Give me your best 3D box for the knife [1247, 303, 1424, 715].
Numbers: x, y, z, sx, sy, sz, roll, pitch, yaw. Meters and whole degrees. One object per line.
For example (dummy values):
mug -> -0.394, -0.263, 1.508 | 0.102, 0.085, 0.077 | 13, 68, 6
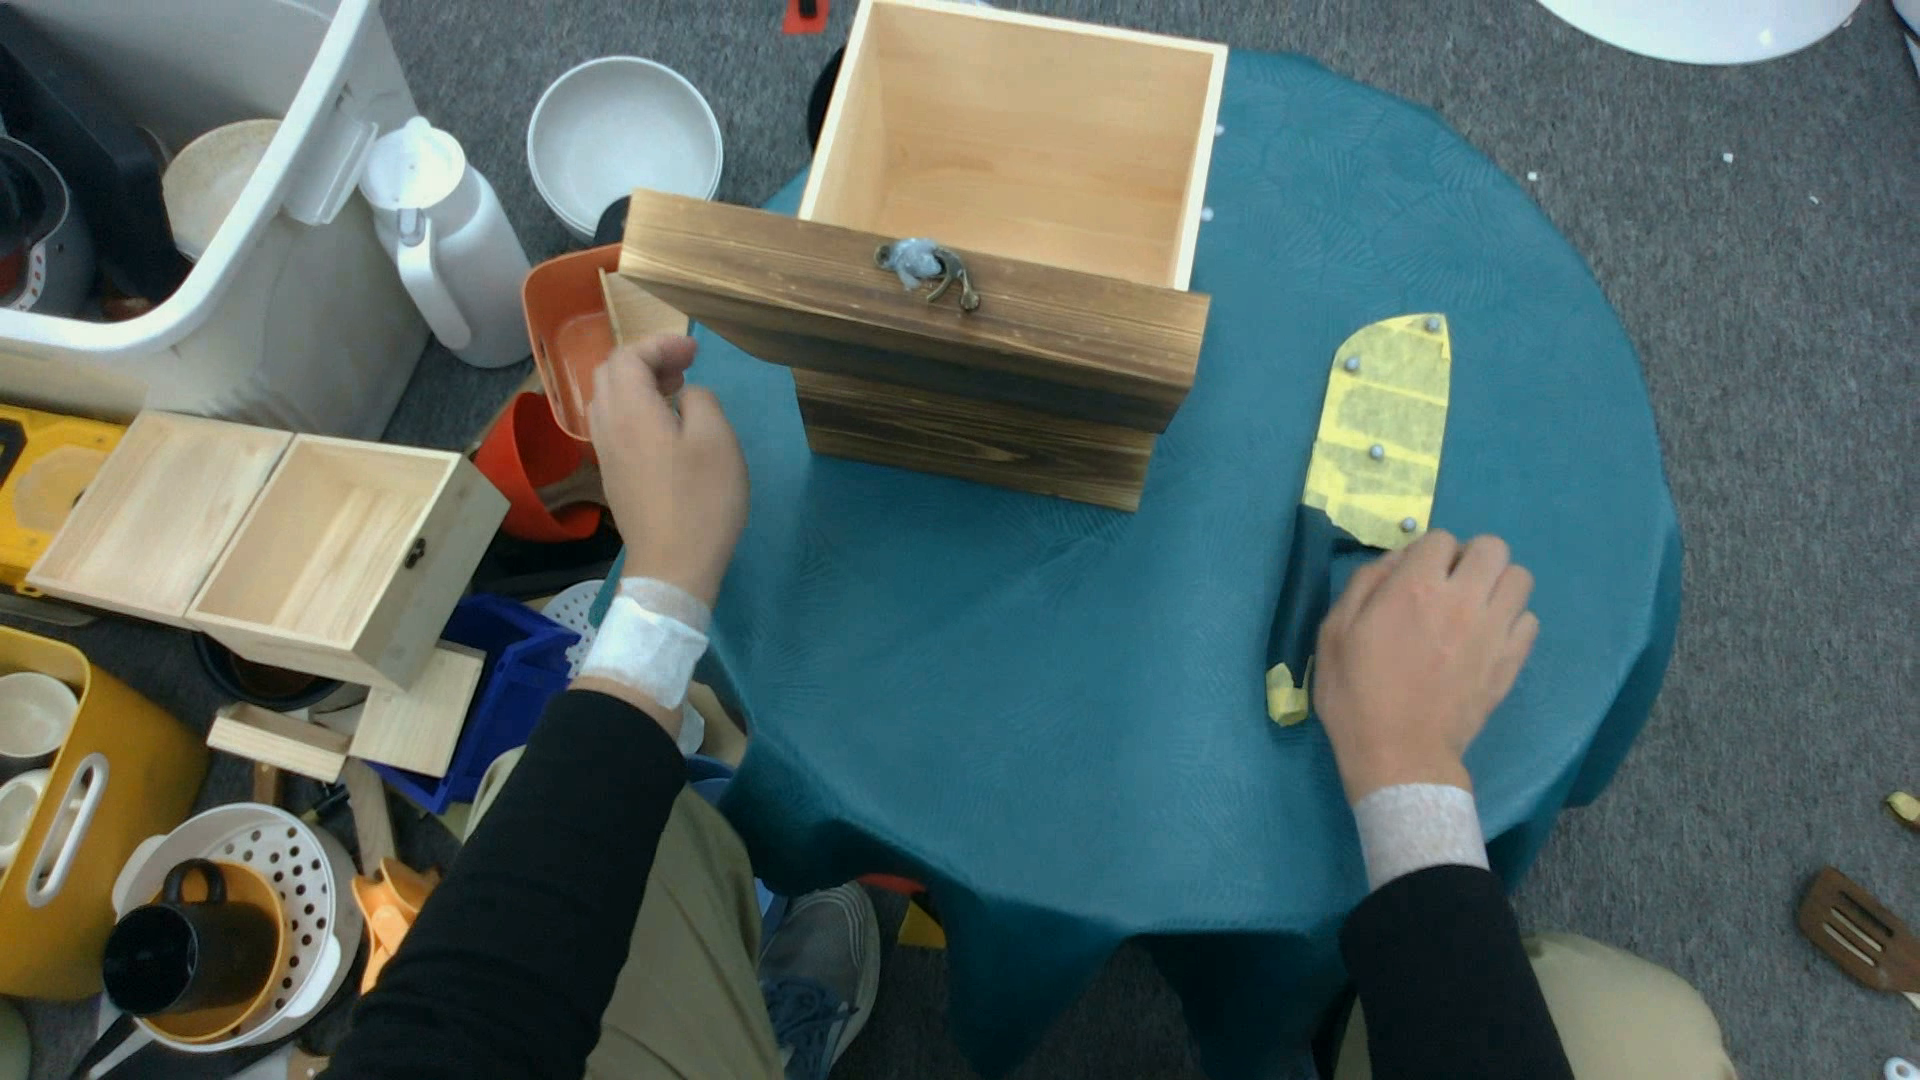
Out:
knife -> 0.224, -0.026, 0.813 | 0.081, 0.027, 0.290 | 18, 66, 10

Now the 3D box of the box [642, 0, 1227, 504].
box -> 0.009, -0.154, 0.680 | 0.209, 0.374, 0.323 | 11, 67, 3
